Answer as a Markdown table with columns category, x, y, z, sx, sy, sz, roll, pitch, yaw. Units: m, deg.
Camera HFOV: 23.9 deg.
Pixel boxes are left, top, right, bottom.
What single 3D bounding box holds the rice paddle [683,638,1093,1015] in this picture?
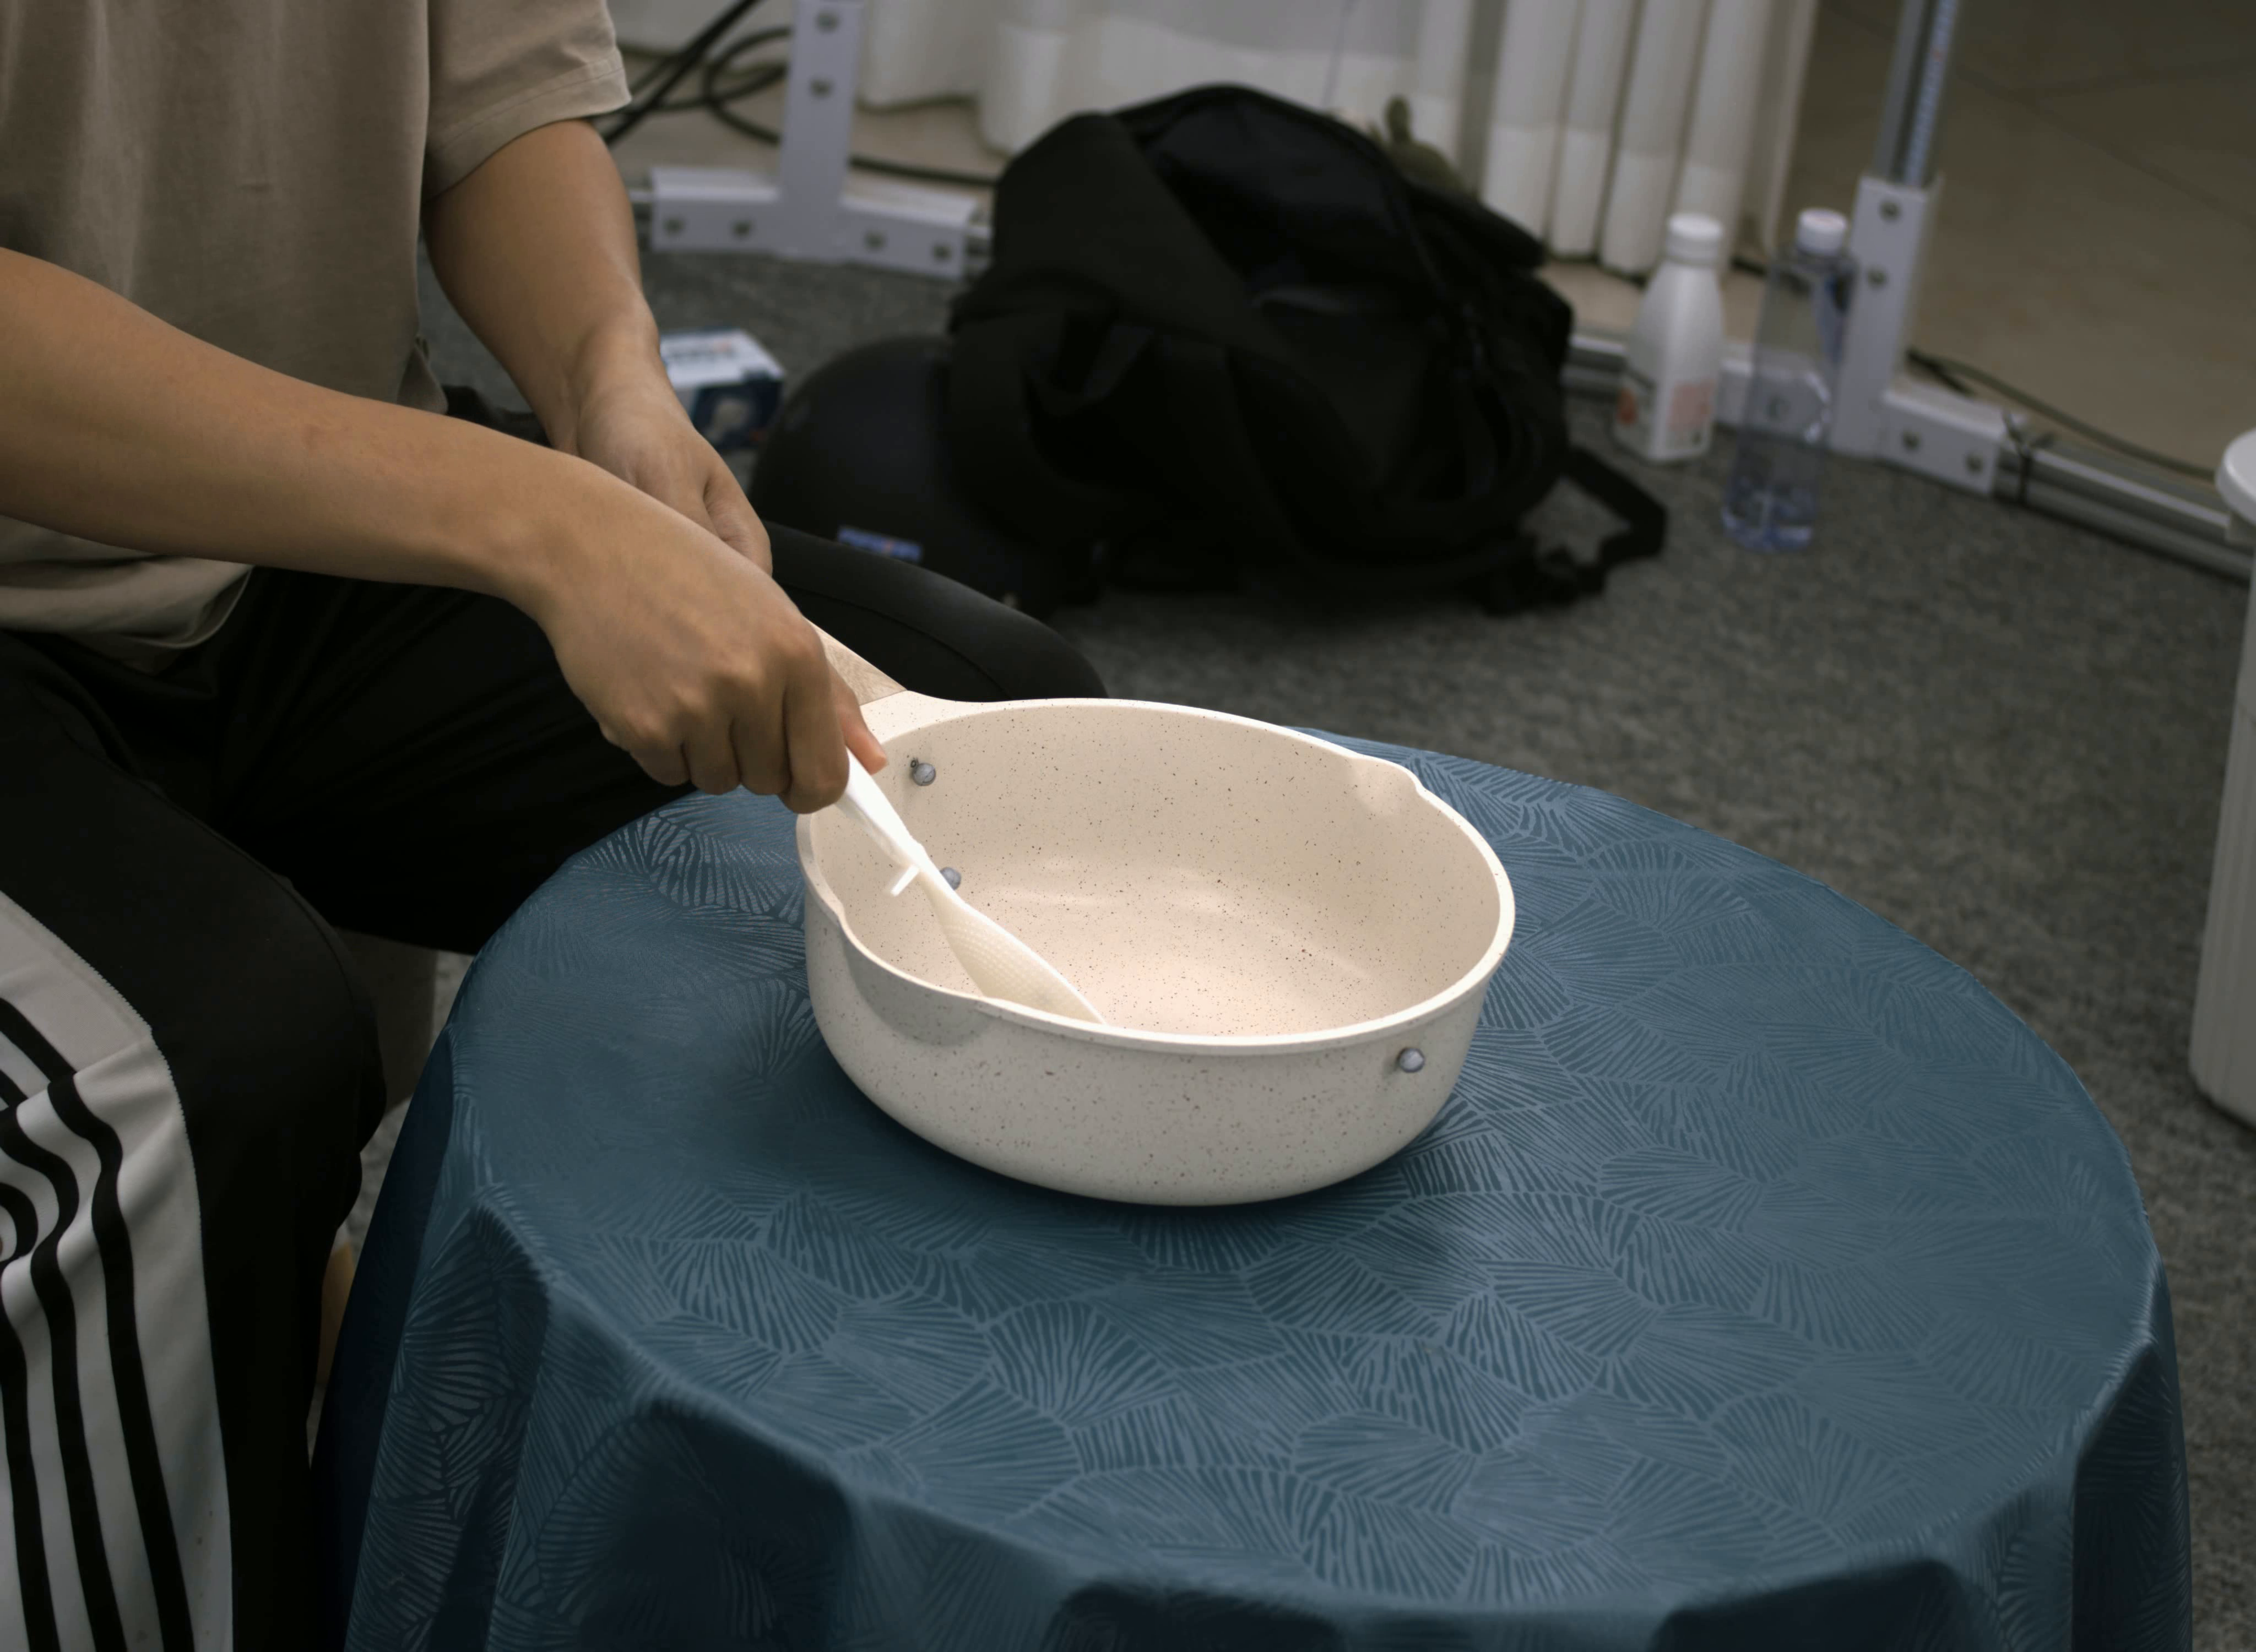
| category | x | y | z | sx | sy | sz | roll | pitch | yaw |
| --- | --- | --- | --- | --- | --- | --- | --- | --- | --- |
| rice paddle | -0.071 | 0.017 | 1.824 | 0.029 | 0.204 | 0.069 | -48 | 15 | -16 |

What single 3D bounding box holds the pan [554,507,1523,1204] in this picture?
| category | x | y | z | sx | sy | sz | roll | pitch | yaw |
| --- | --- | --- | --- | --- | --- | --- | --- | --- | --- |
| pan | -0.057 | 0.005 | 1.918 | 0.438 | 0.101 | 0.262 | 28 | 36 | 36 |
